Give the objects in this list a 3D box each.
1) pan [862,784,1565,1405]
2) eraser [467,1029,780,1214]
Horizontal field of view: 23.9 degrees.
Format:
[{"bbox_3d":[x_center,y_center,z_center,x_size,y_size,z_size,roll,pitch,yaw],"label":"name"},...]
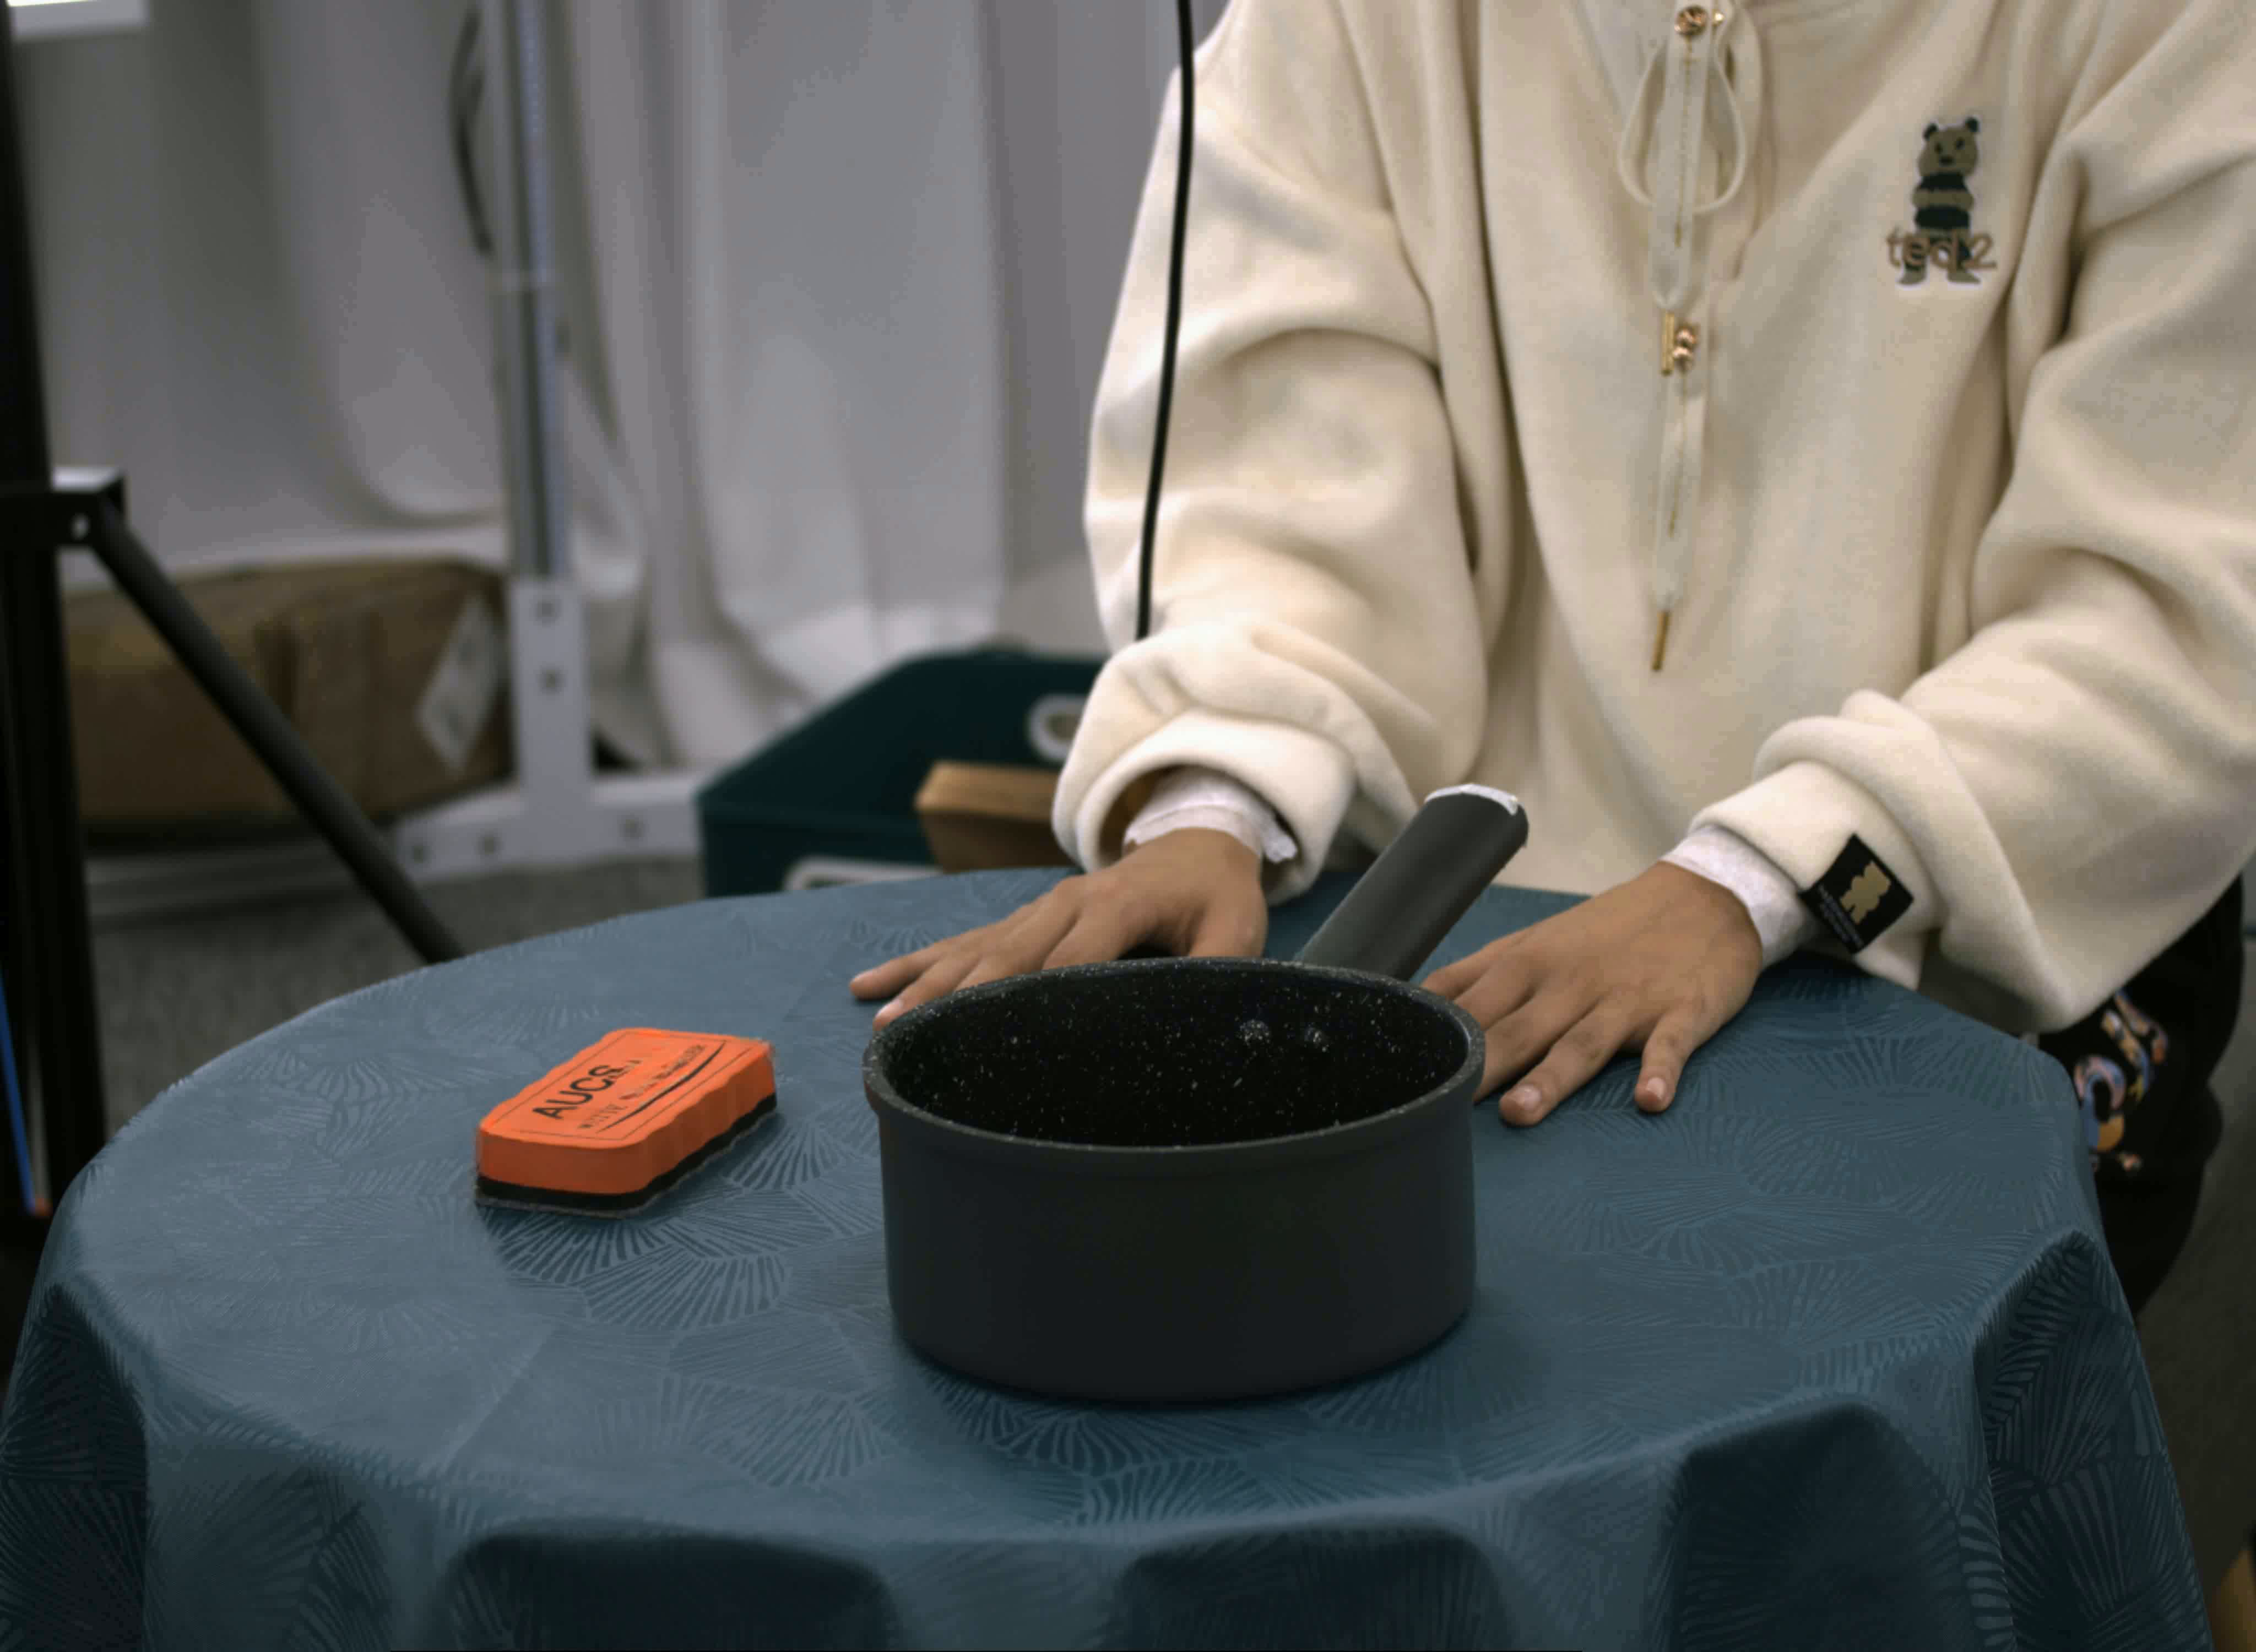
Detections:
[{"bbox_3d":[0.048,0.072,1.521,0.175,0.086,0.323,6,19,26],"label":"pan"},{"bbox_3d":[-0.151,0.088,1.609,0.060,0.023,0.106,4,17,23],"label":"eraser"}]
